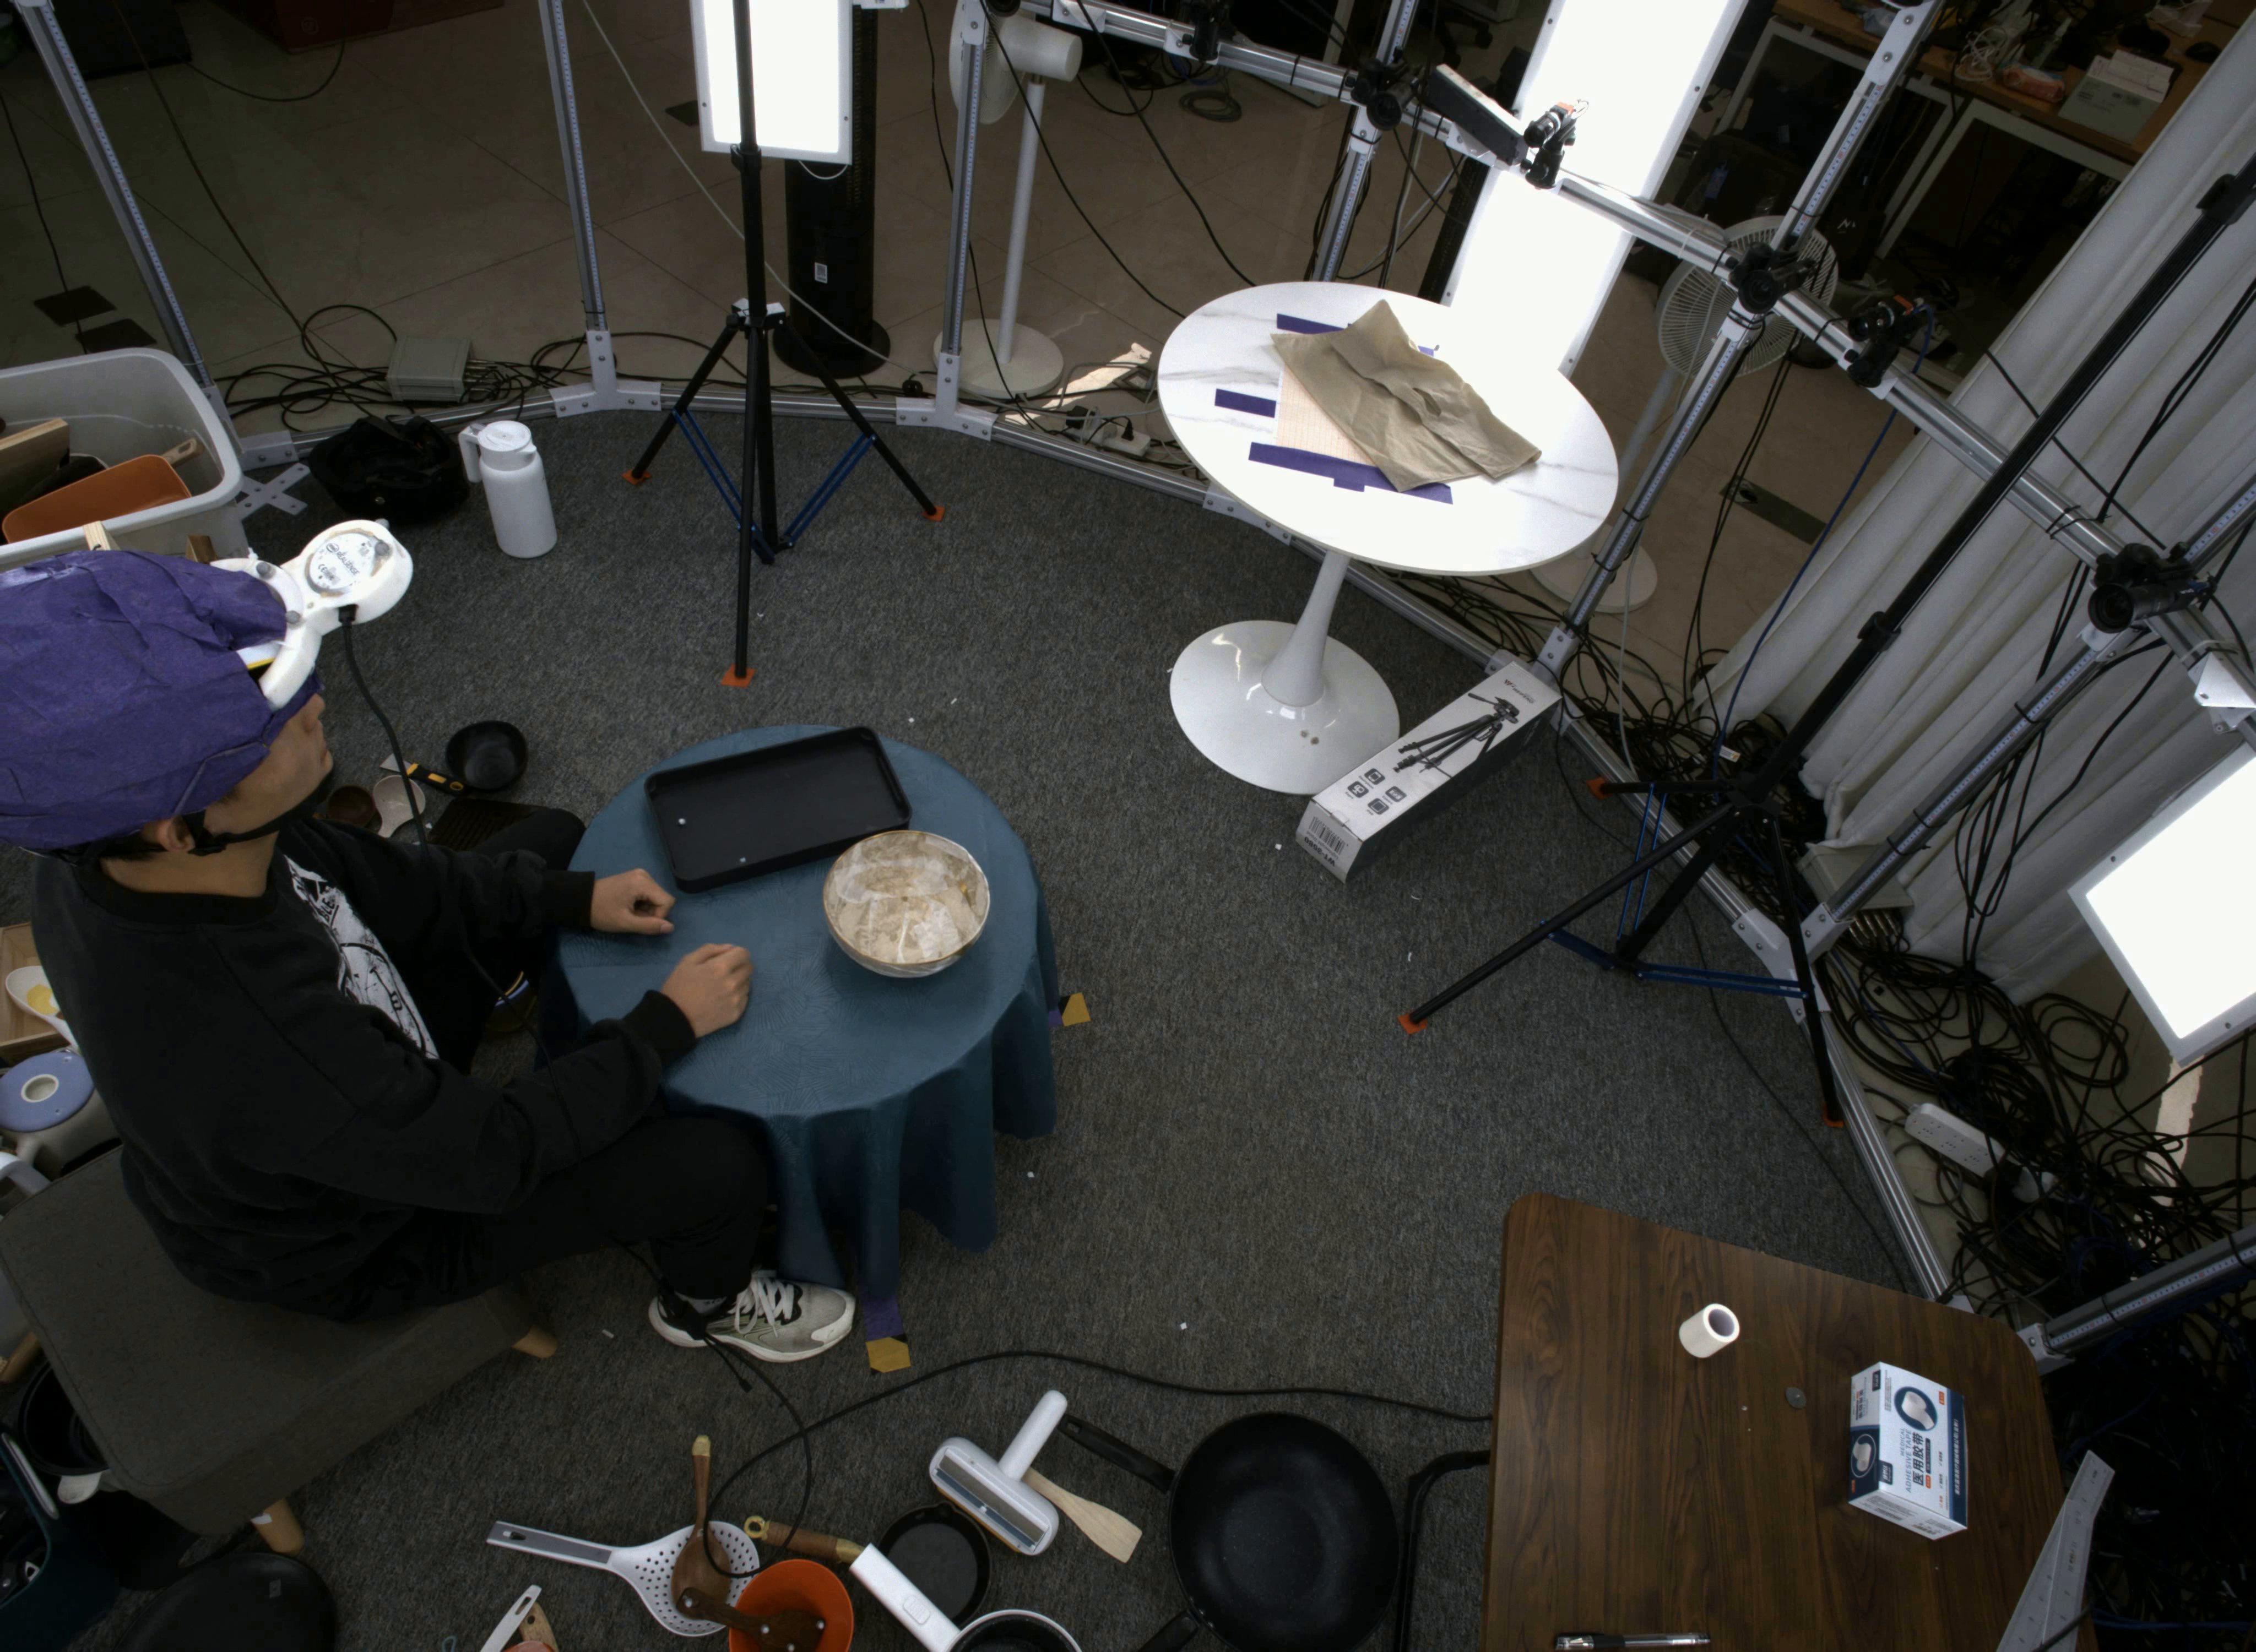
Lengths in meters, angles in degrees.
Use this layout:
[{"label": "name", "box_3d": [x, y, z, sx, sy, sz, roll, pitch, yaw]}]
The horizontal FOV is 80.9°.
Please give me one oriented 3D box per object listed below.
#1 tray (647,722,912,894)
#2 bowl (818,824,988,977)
[{"label": "tray", "box_3d": [-0.460, -0.029, 1.716, 0.319, 0.038, 0.180, -16, 60, -23]}, {"label": "bowl", "box_3d": [-0.282, 0.107, 1.626, 0.214, 0.096, 0.211, 8, 53, -9]}]
